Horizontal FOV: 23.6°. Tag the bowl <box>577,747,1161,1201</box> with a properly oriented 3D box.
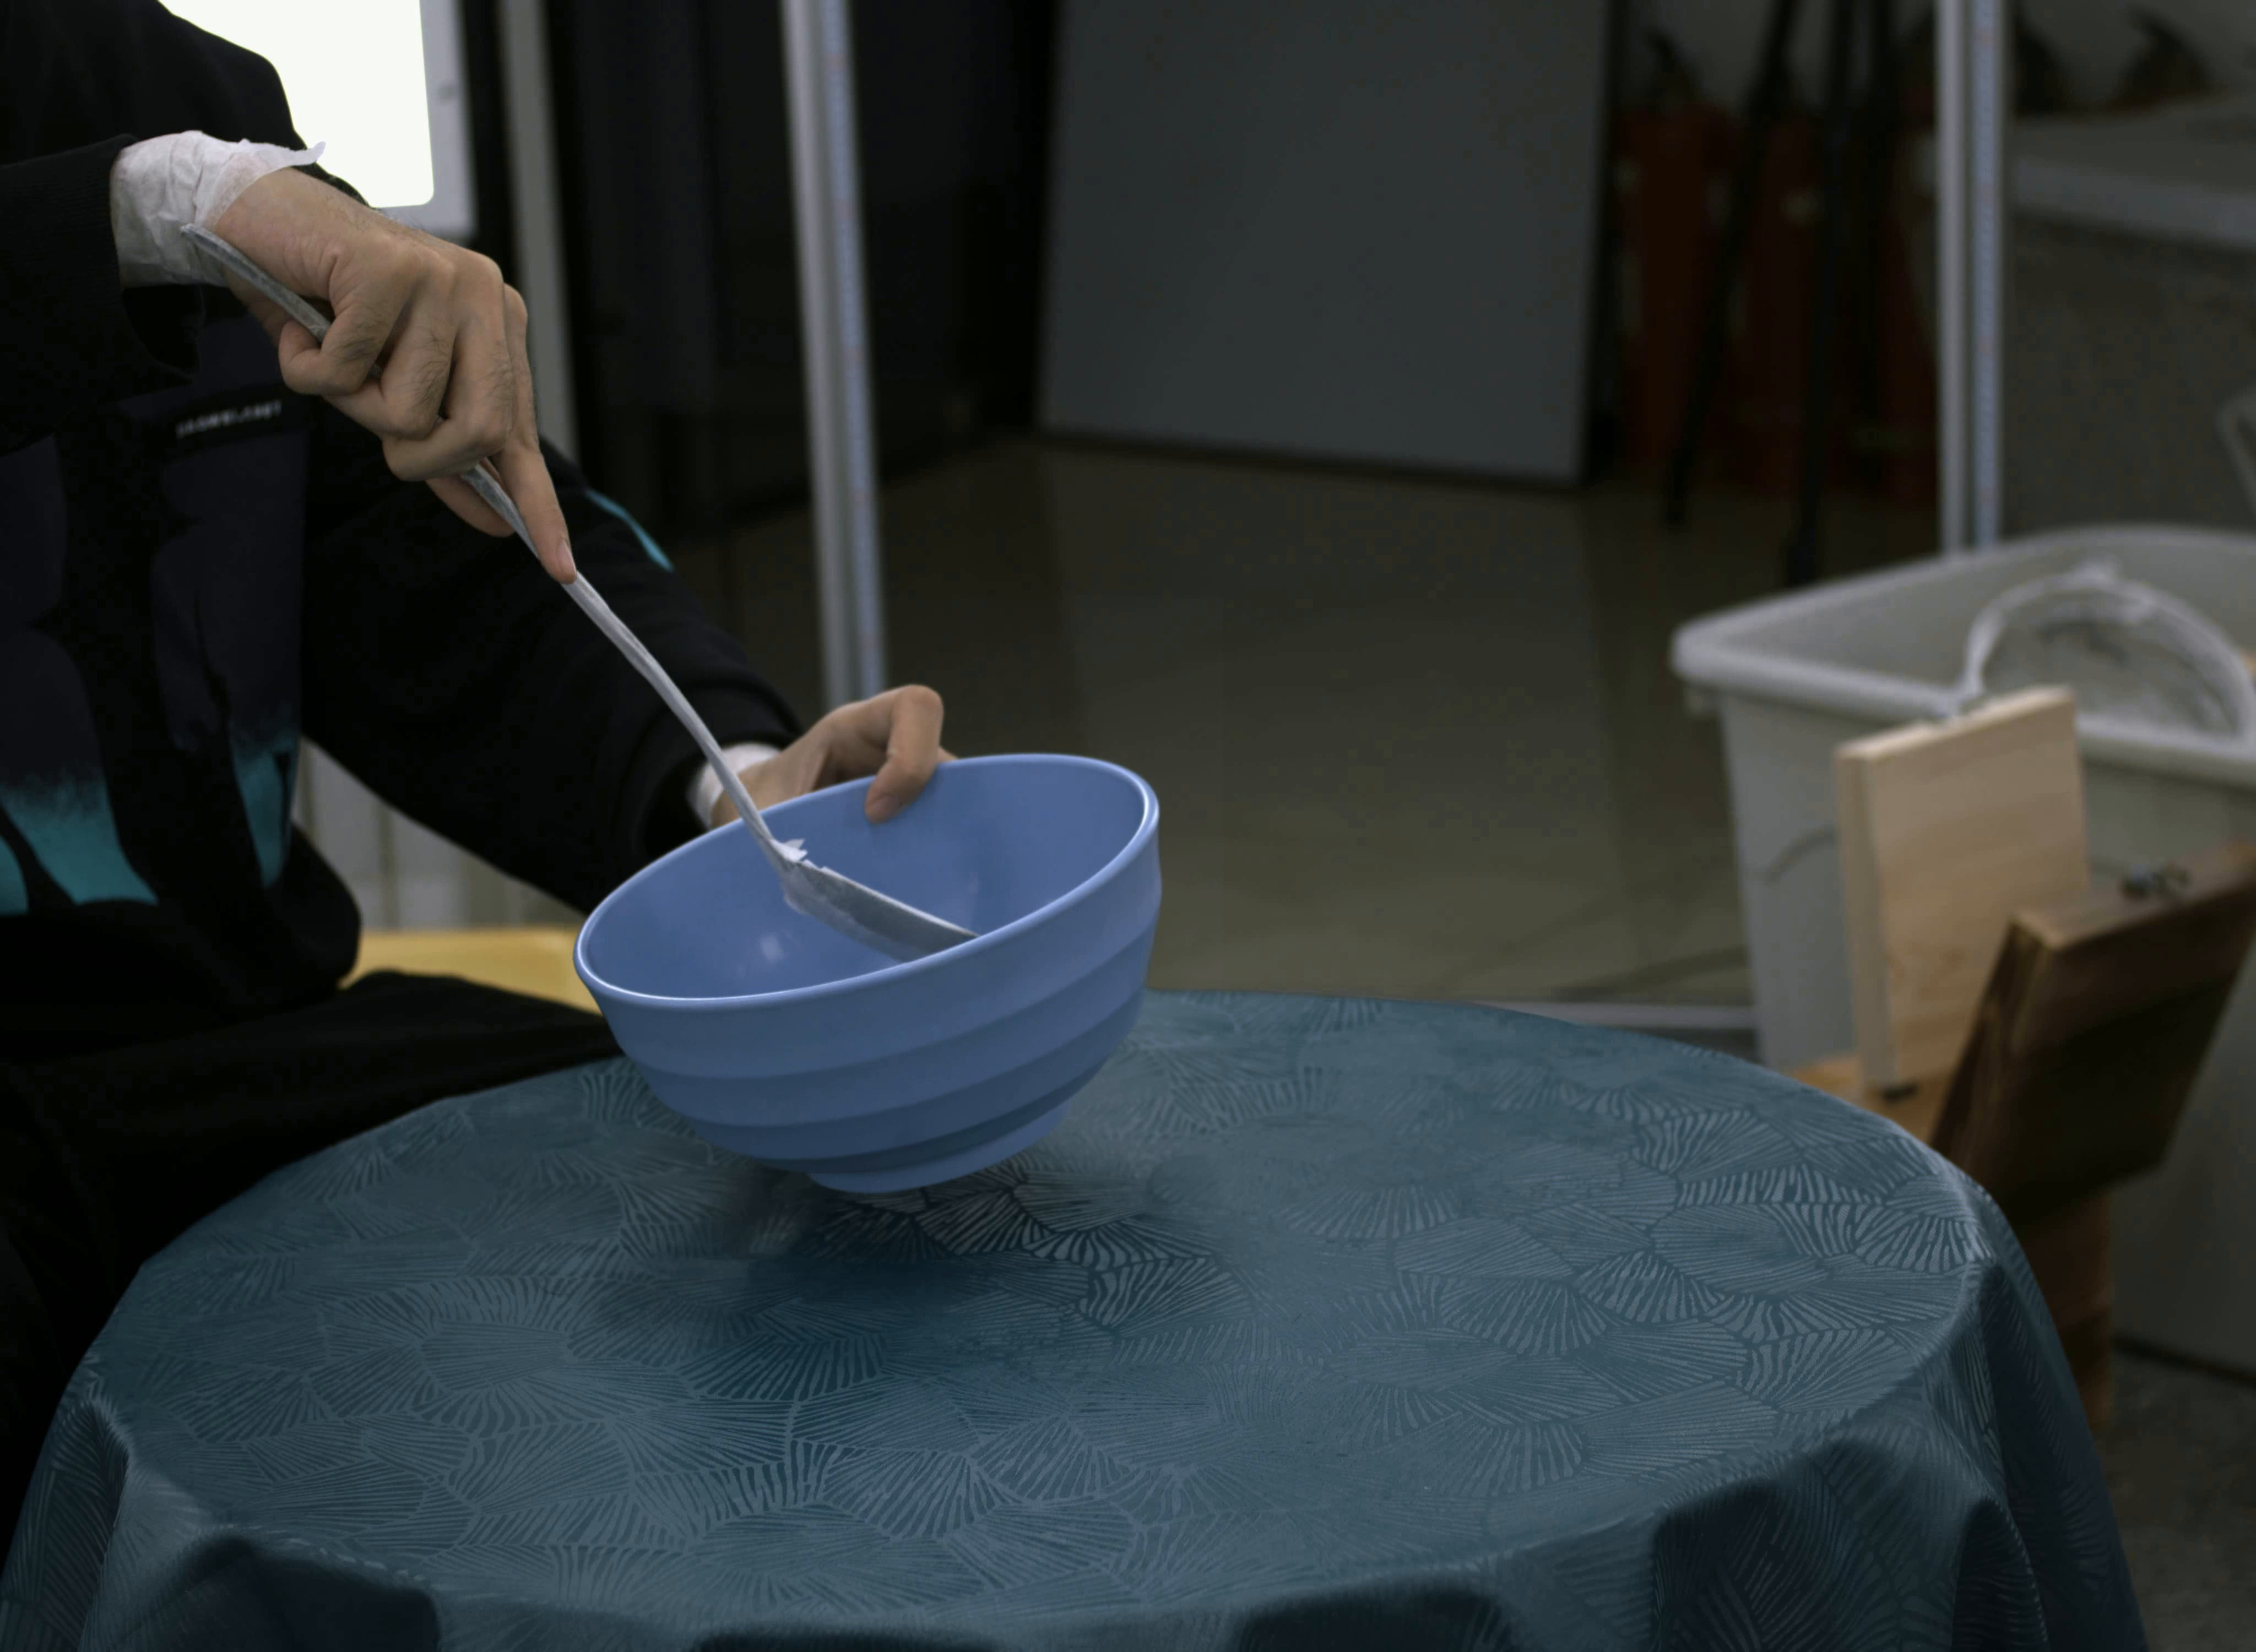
[{"bbox_3d":[-0.073,0.058,1.749,0.195,0.096,0.197,-16,19,4],"label":"bowl"}]

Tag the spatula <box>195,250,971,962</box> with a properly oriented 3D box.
[{"bbox_3d":[-0.158,-0.063,1.726,0.044,0.365,0.099,-42,1,-10],"label":"spatula"}]
